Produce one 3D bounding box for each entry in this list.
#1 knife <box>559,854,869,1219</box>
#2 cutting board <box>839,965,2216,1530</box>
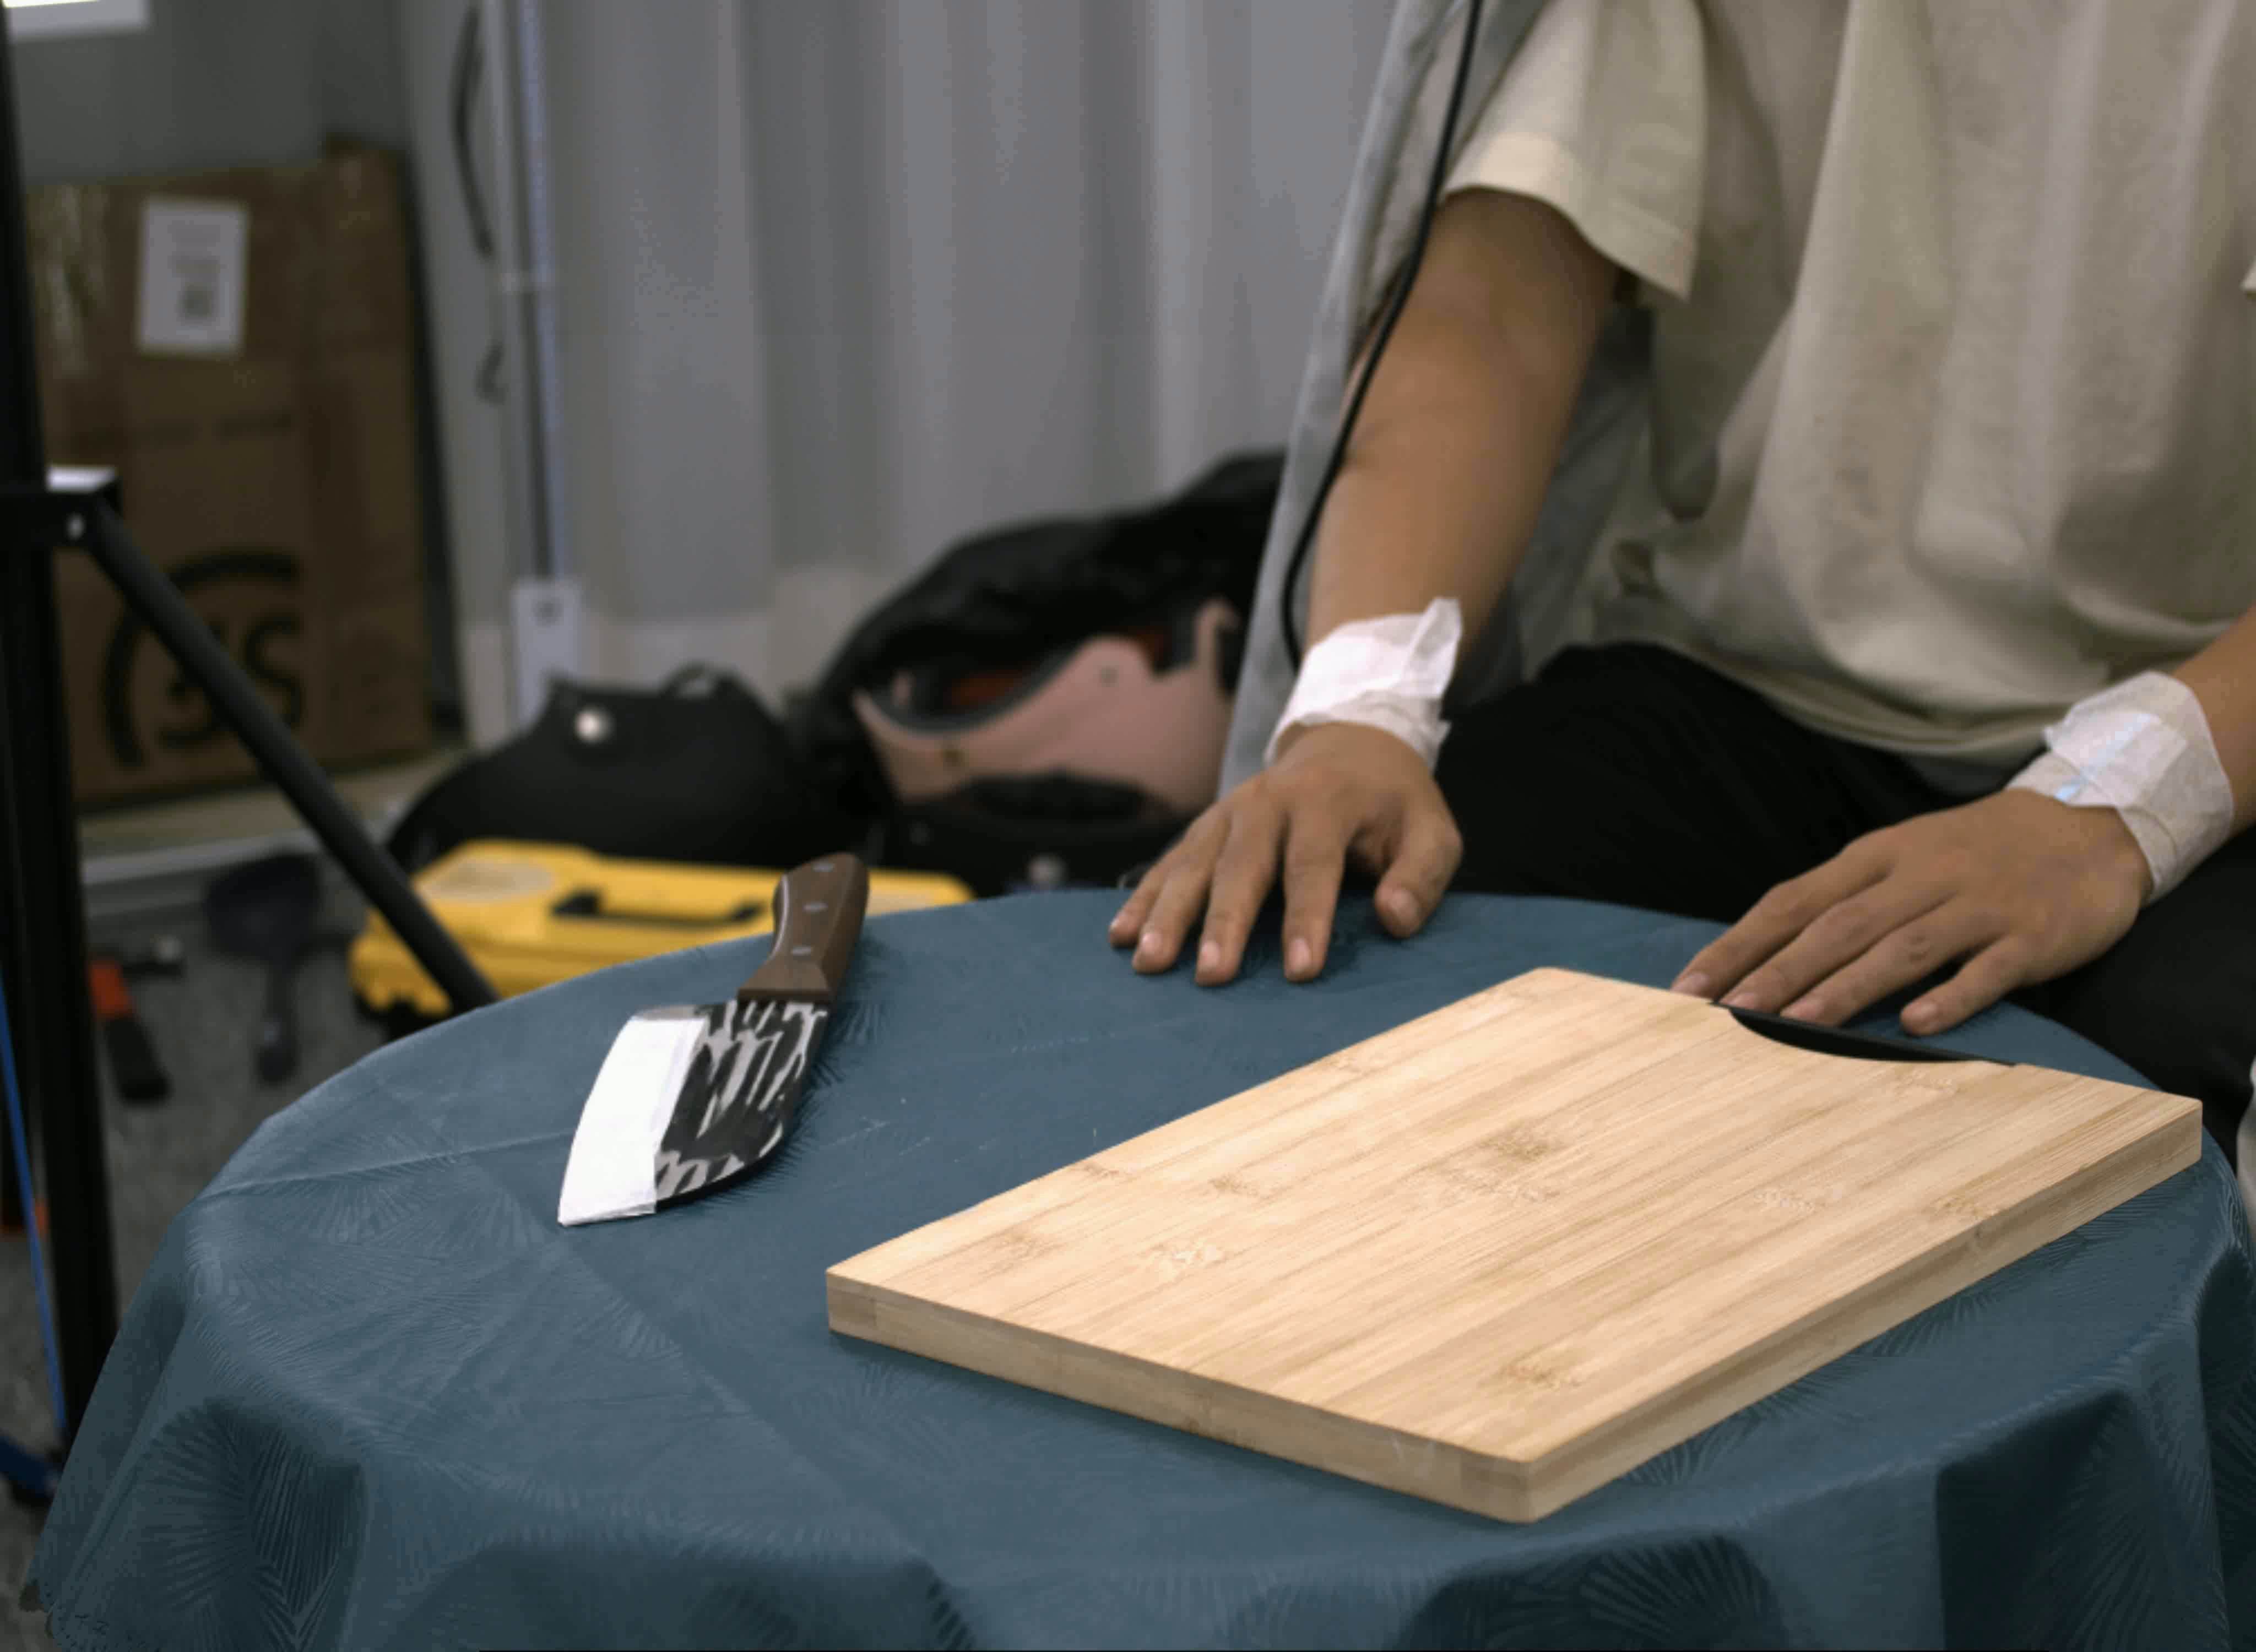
[{"bbox_3d":[-0.129,0.066,1.690,0.068,0.024,0.299,-3,18,7],"label":"knife"},{"bbox_3d":[0.120,0.109,1.502,0.256,0.023,0.341,11,20,39],"label":"cutting board"}]
